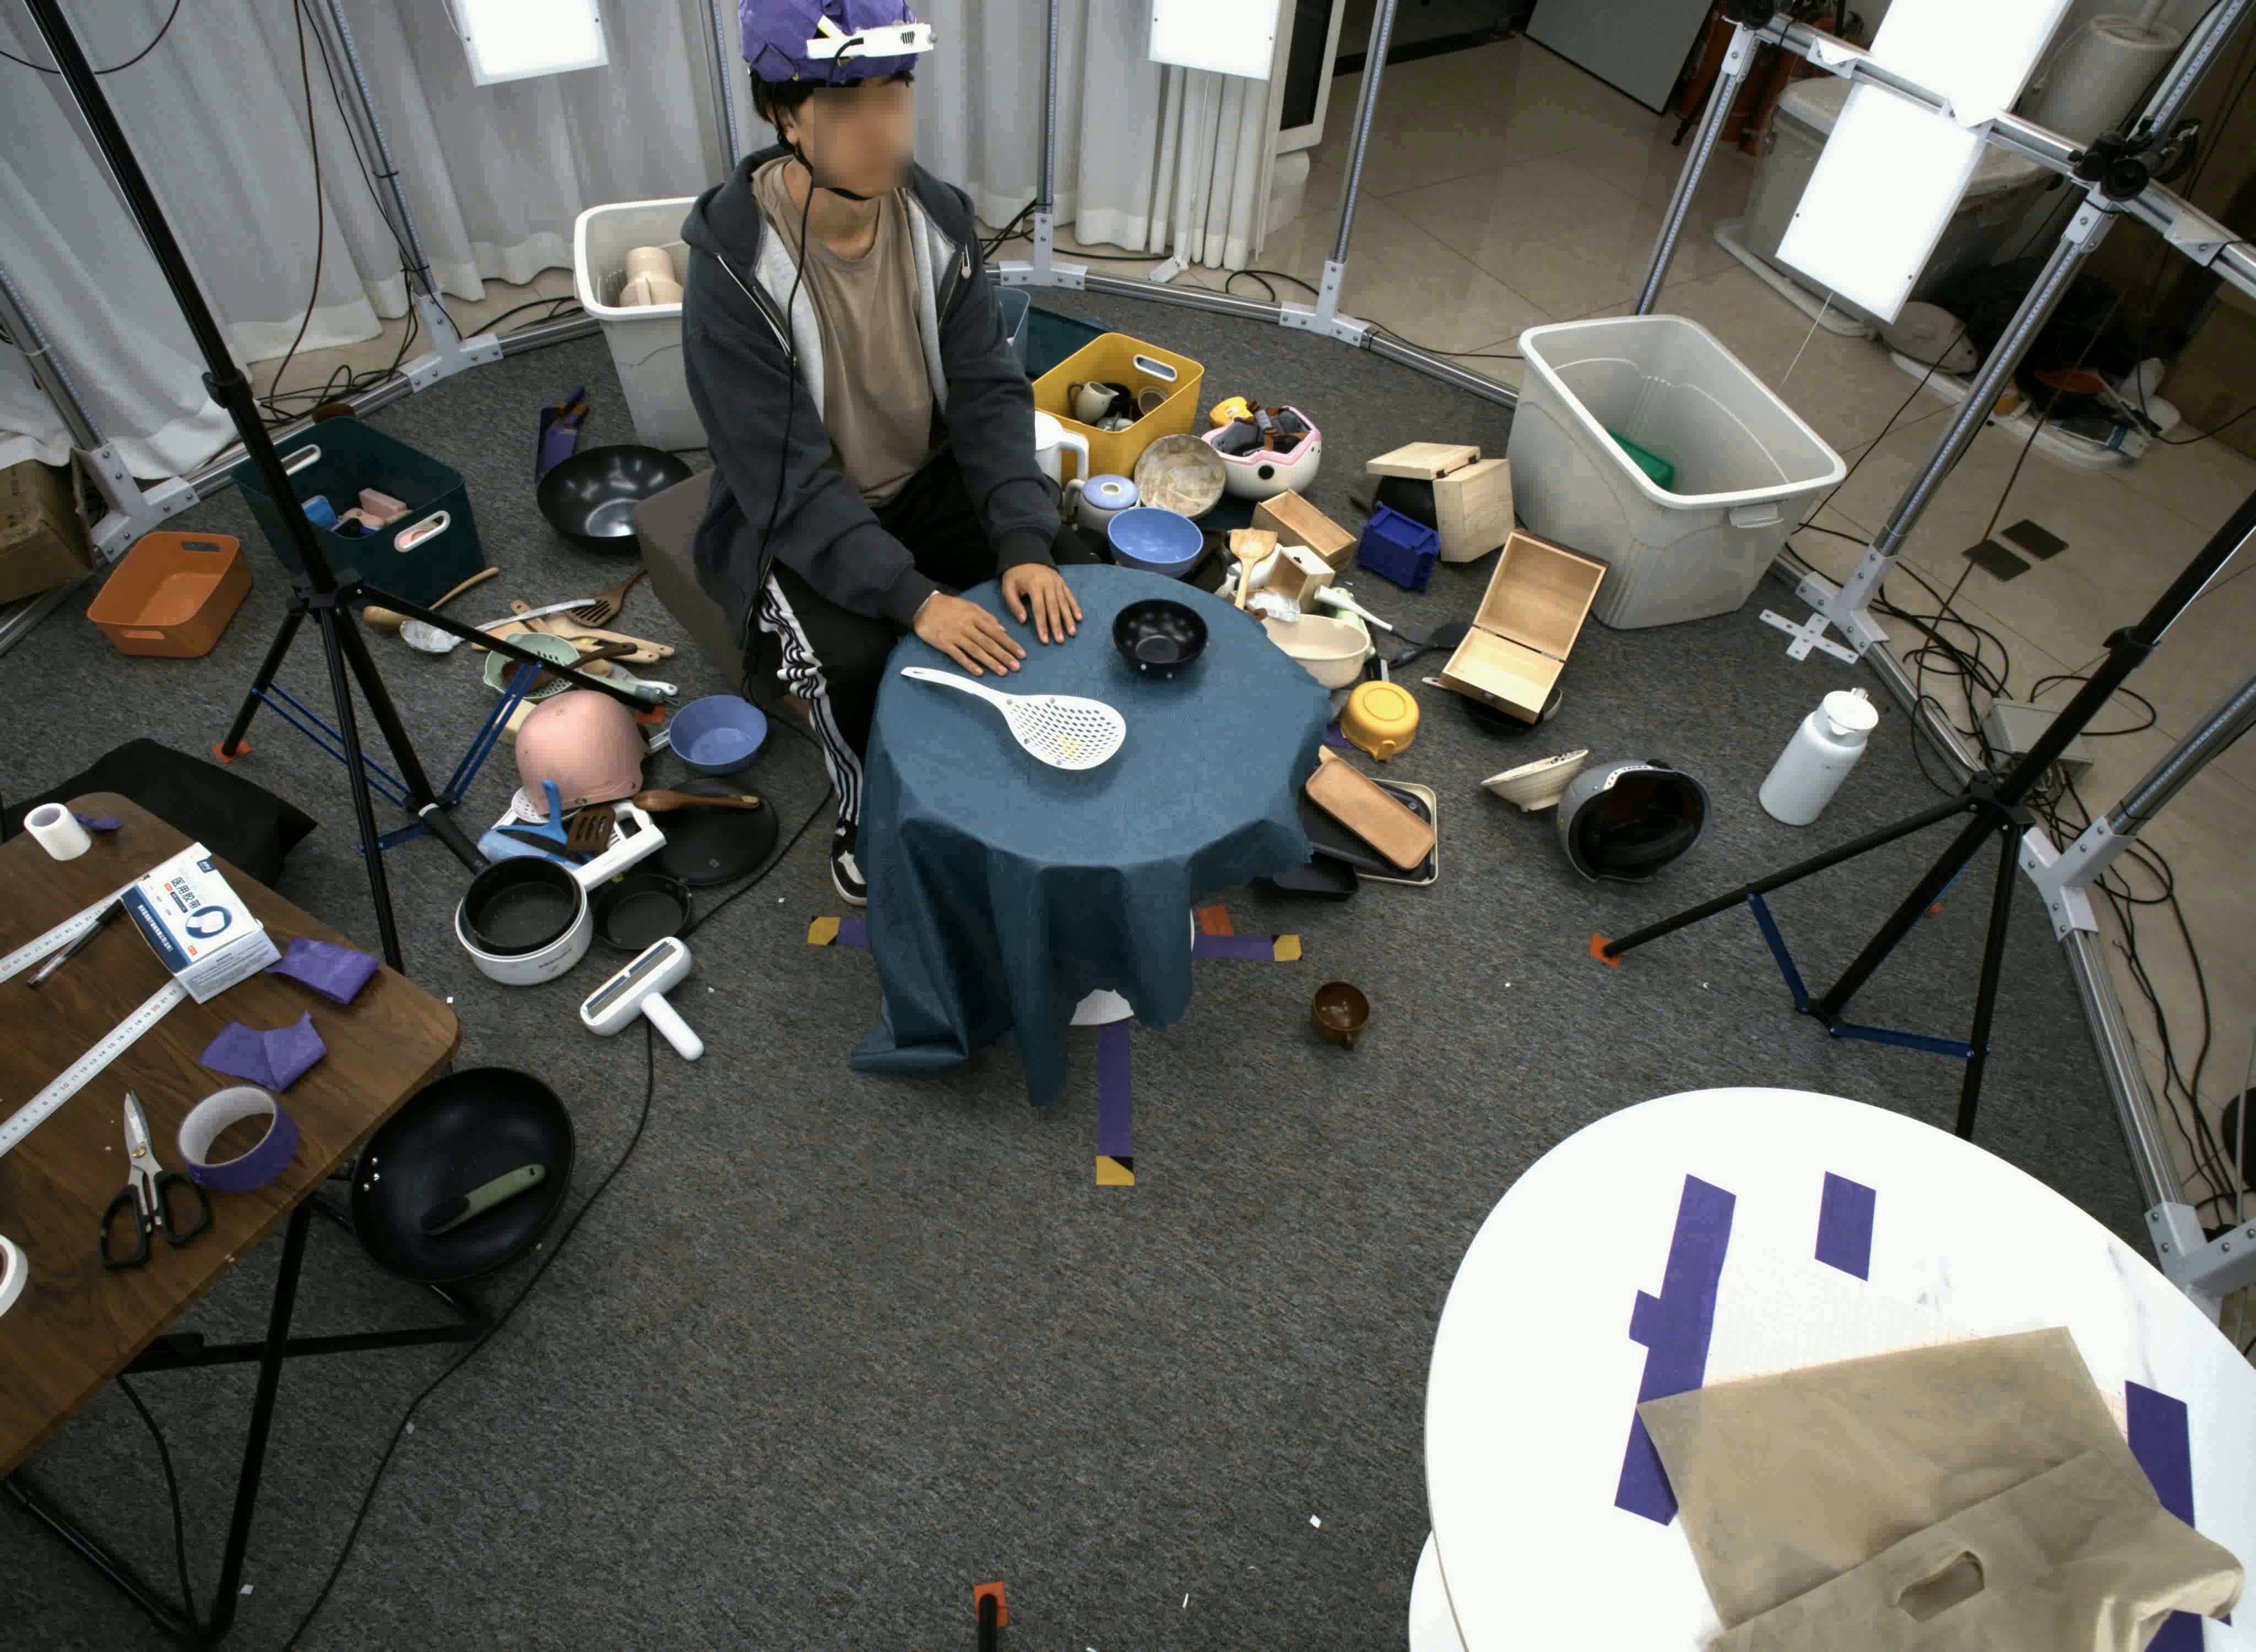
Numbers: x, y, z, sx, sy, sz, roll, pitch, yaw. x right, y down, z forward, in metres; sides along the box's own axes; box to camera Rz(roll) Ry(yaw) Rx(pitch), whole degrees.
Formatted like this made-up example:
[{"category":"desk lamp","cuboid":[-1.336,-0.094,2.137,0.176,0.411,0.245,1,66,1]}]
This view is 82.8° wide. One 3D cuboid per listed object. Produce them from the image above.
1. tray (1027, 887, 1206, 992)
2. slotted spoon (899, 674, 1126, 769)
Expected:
[{"category":"tray","cuboid":[-0.019,0.194,2.202,0.300,0.027,0.196,3,49,-3]},{"category":"slotted spoon","cuboid":[-0.167,-0.162,1.770,0.351,0.049,0.139,25,55,18]}]
